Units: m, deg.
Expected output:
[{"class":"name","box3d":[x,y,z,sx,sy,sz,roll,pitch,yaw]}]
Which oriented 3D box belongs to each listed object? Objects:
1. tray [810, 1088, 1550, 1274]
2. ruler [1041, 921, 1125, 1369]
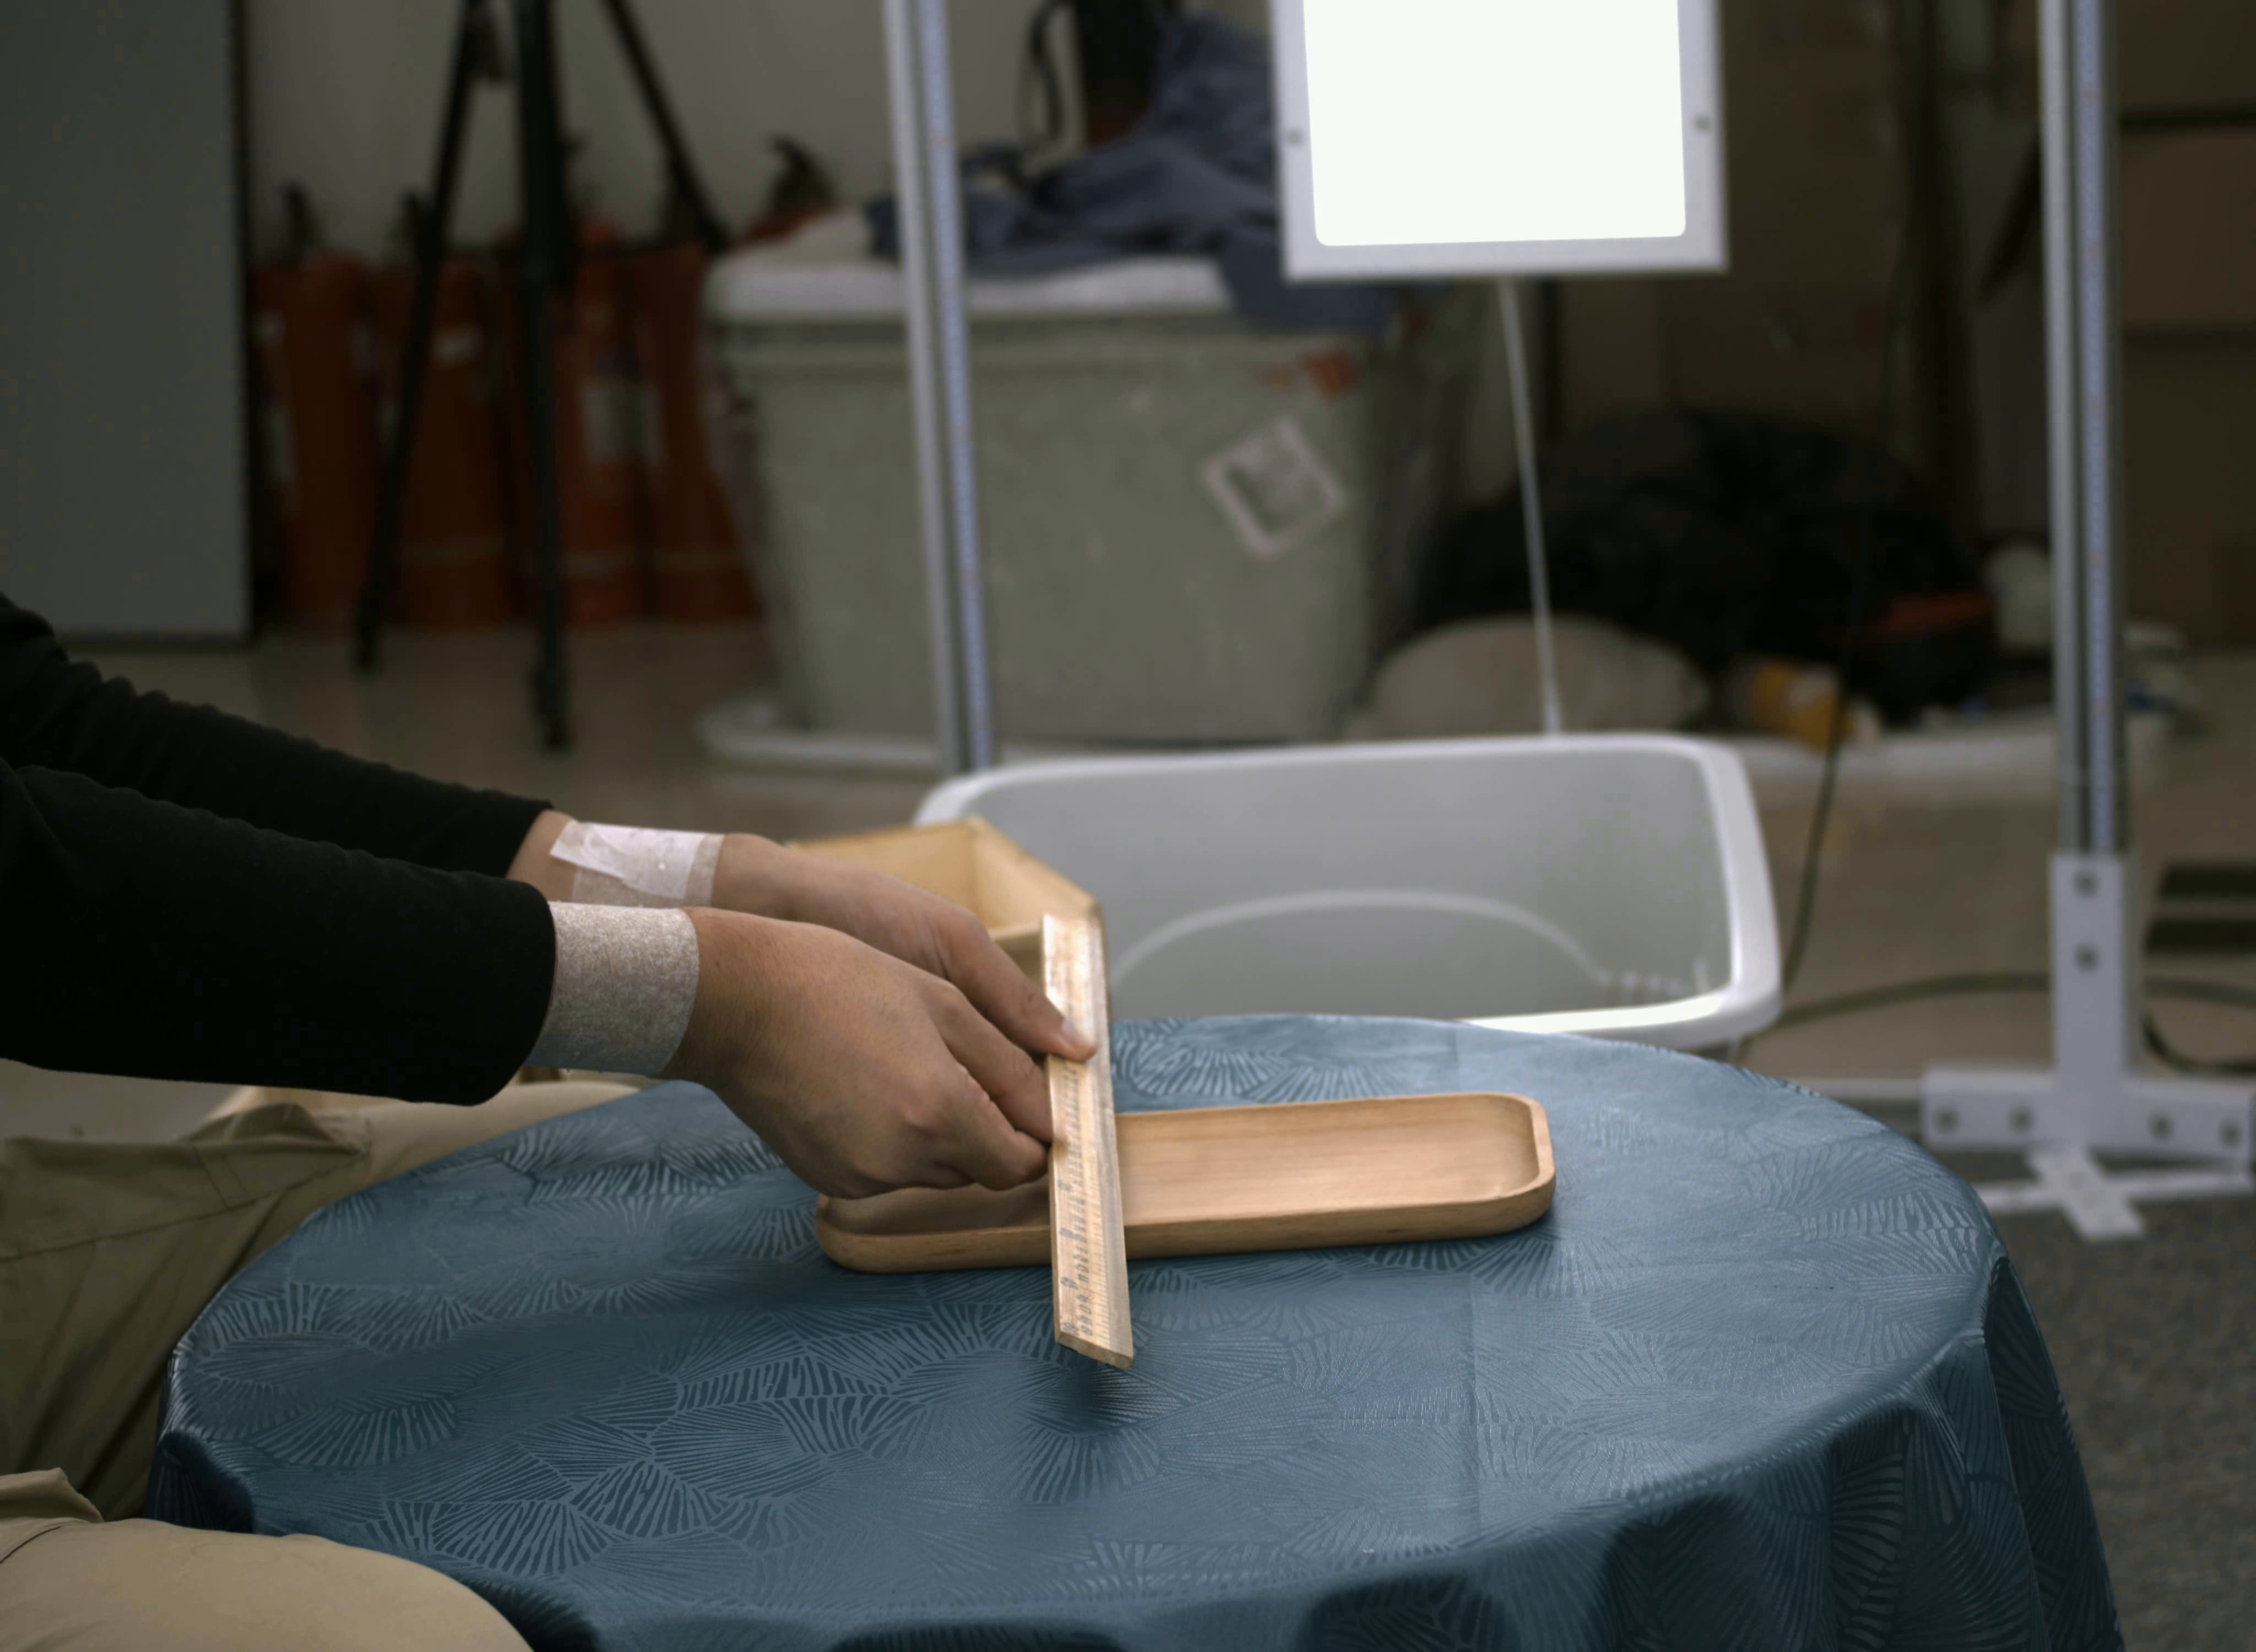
[{"class":"tray","box3d":[0.019,0.121,1.880,0.251,0.023,0.130,-5,12,6]},{"class":"ruler","box3d":[-0.017,0.100,1.912,0.026,0.006,0.499,22,12,-6]}]
